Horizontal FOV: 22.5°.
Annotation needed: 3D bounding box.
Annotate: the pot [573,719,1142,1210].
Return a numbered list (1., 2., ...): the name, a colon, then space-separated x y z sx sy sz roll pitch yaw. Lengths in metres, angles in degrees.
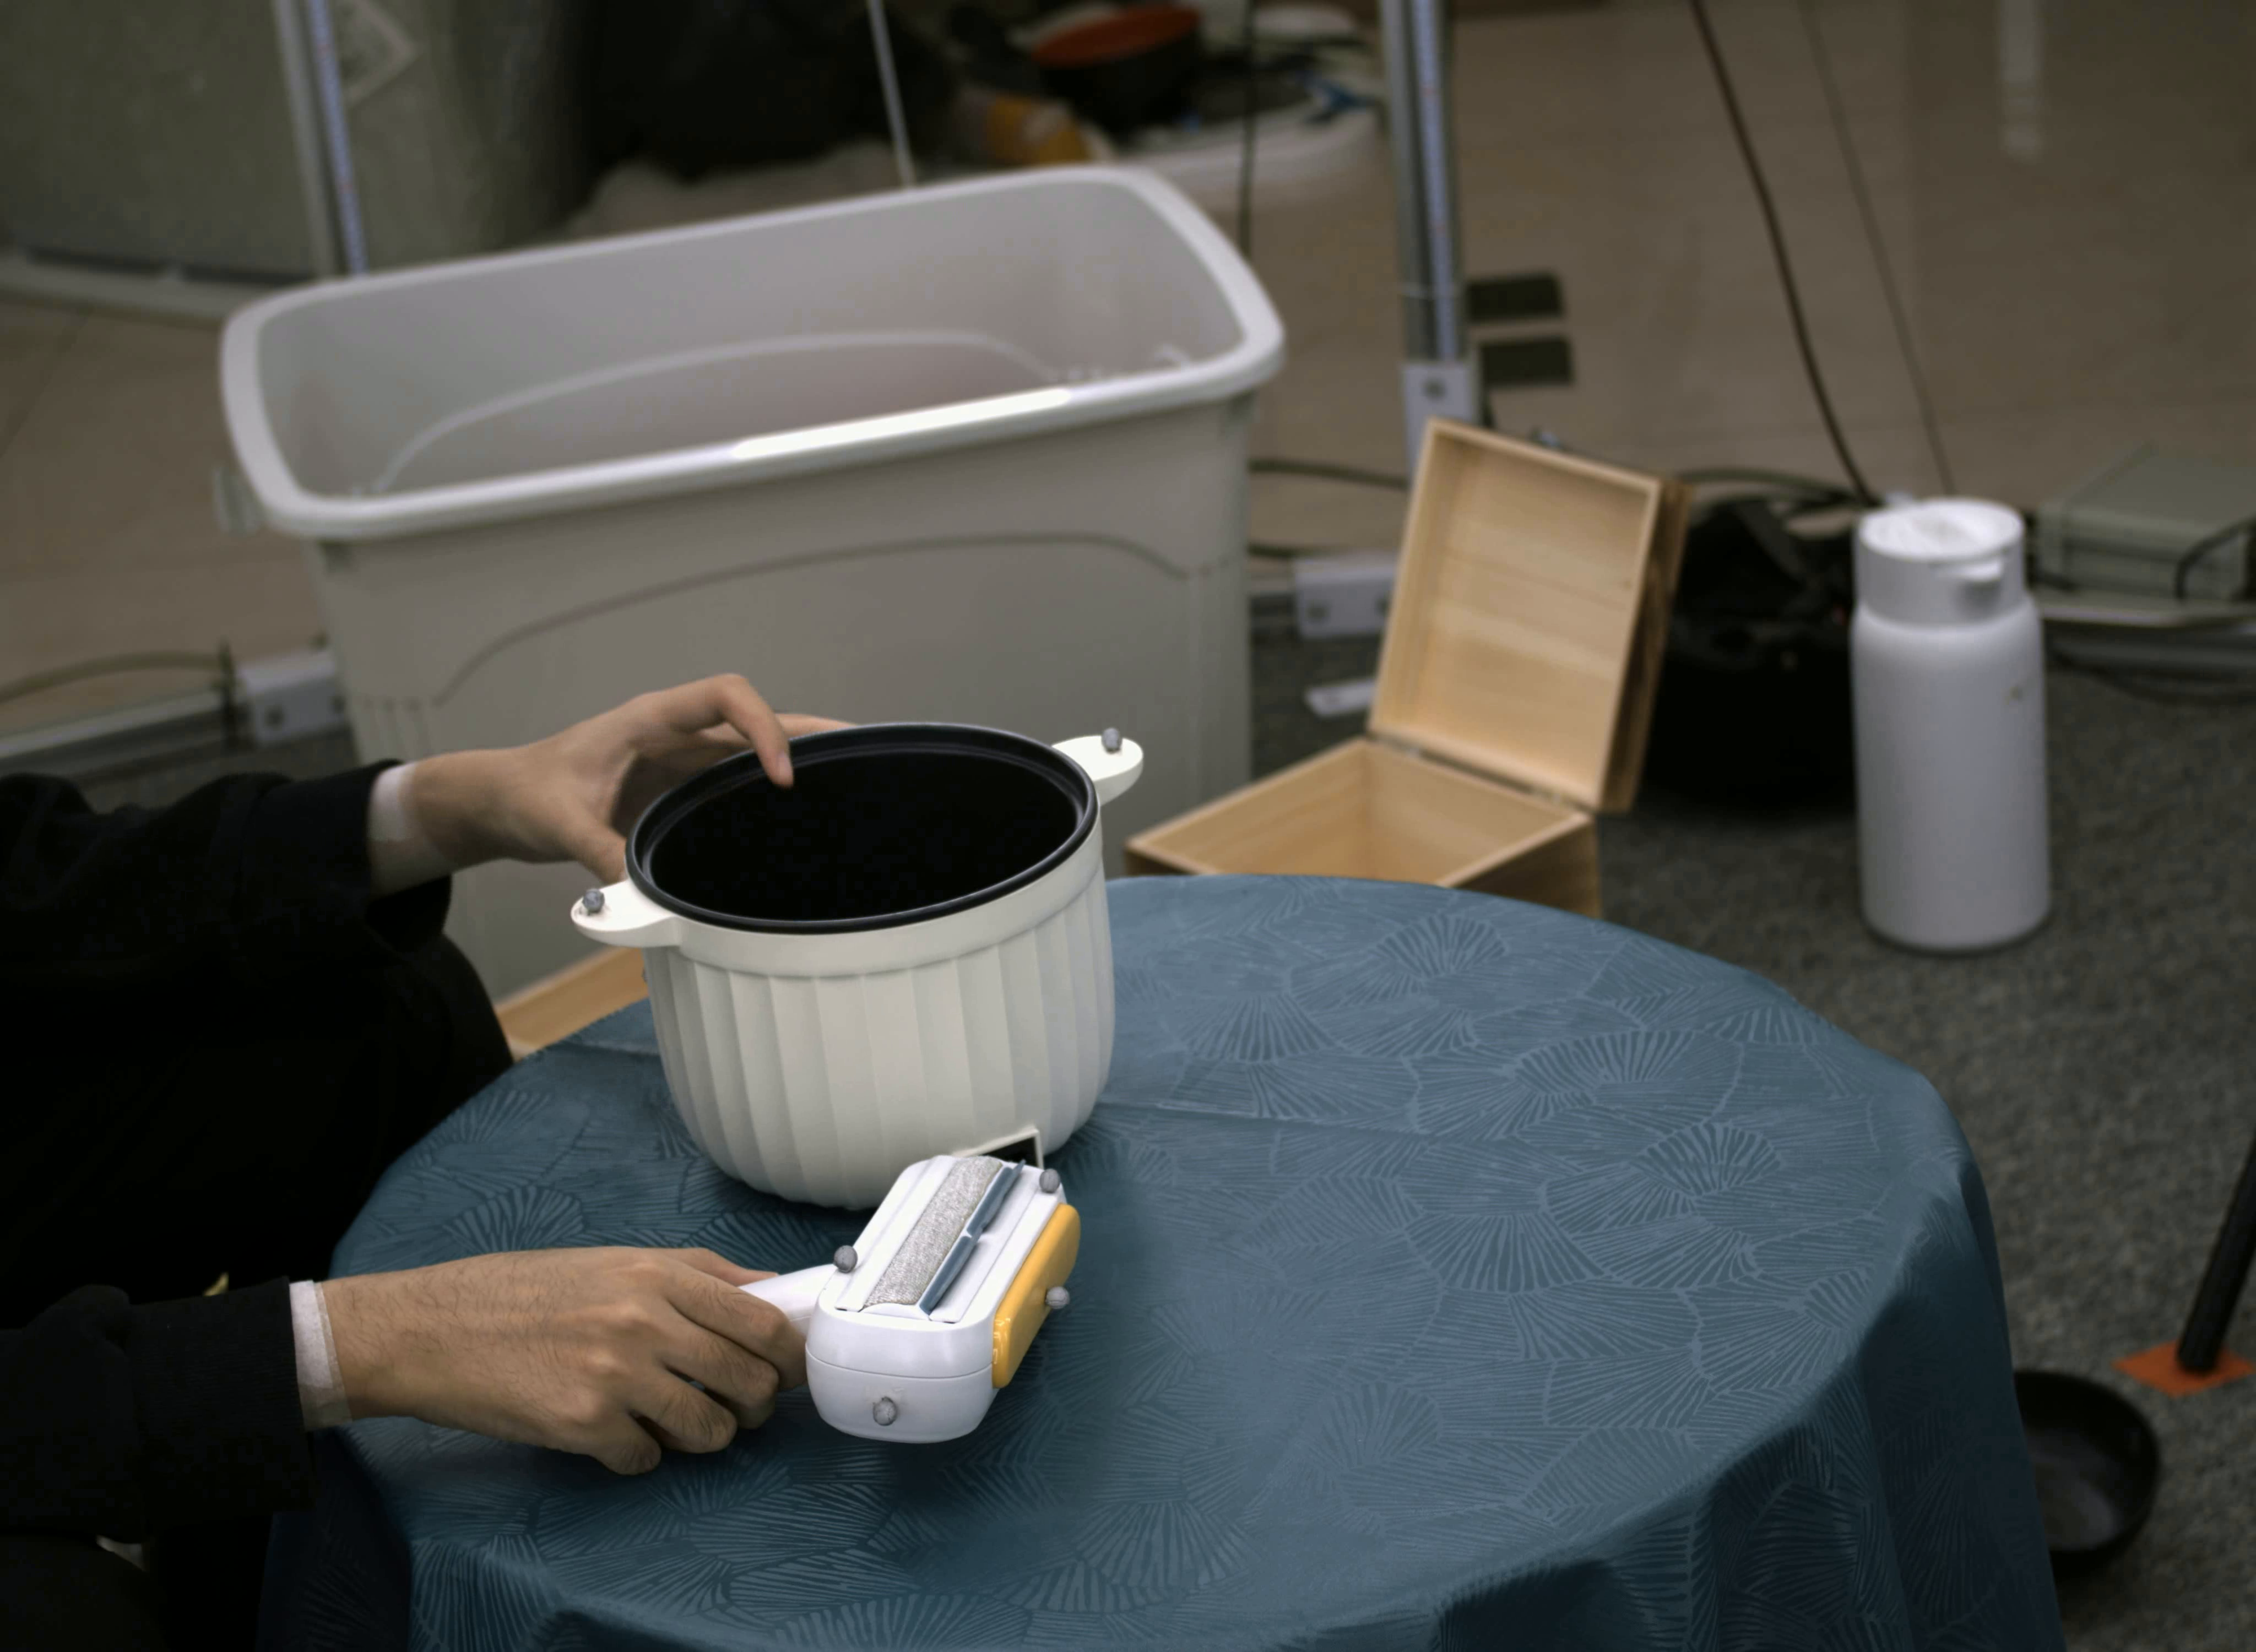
1. pot: -0.099 0.056 2.178 0.239 0.145 0.188 -18 31 -25

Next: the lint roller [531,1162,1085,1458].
1. lint roller: -0.123 0.176 2.014 0.192 0.075 0.190 -2 19 14
